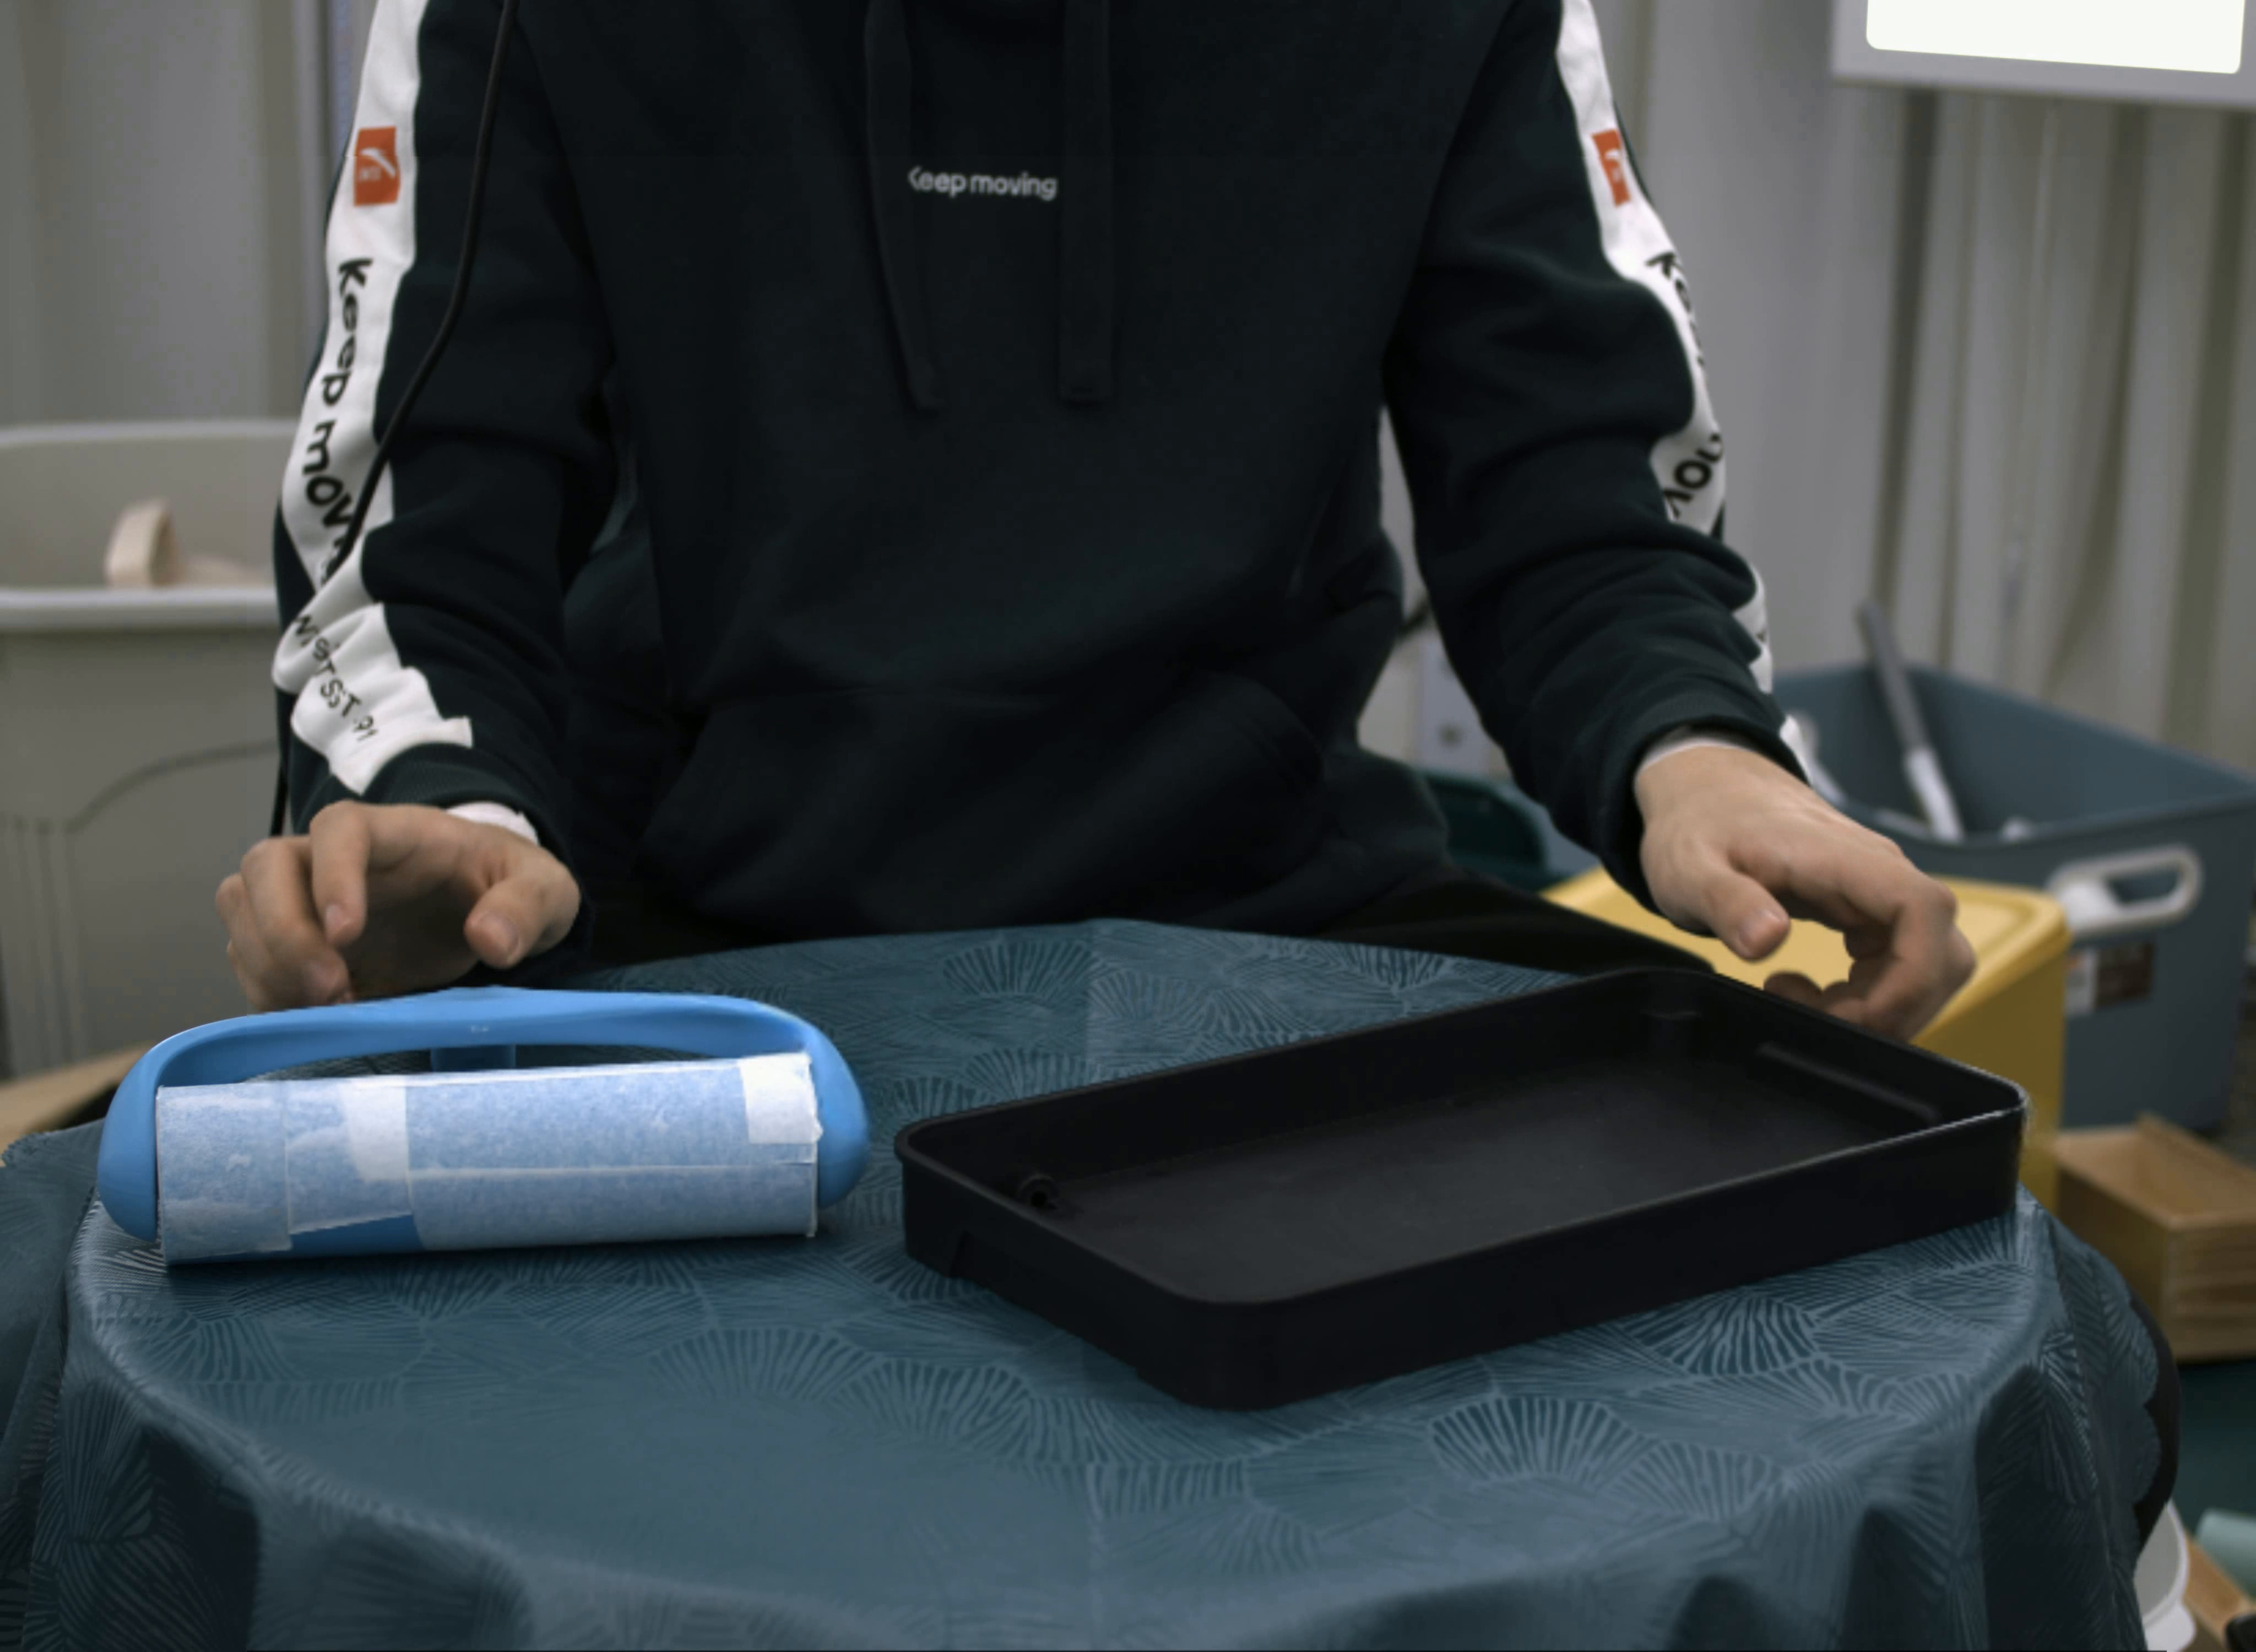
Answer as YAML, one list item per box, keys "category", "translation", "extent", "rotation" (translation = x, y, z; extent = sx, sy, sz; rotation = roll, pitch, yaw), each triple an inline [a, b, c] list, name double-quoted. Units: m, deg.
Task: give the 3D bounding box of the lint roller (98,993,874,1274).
- category: "lint roller"
  translation: [-0.201, 0.082, 1.615]
  extent: [0.229, 0.068, 0.178]
  rotation: [-5, 18, -11]

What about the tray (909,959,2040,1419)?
- category: "tray"
  translation: [0.107, 0.103, 1.591]
  extent: [0.319, 0.037, 0.182]
  rotation: [-12, 19, -35]
